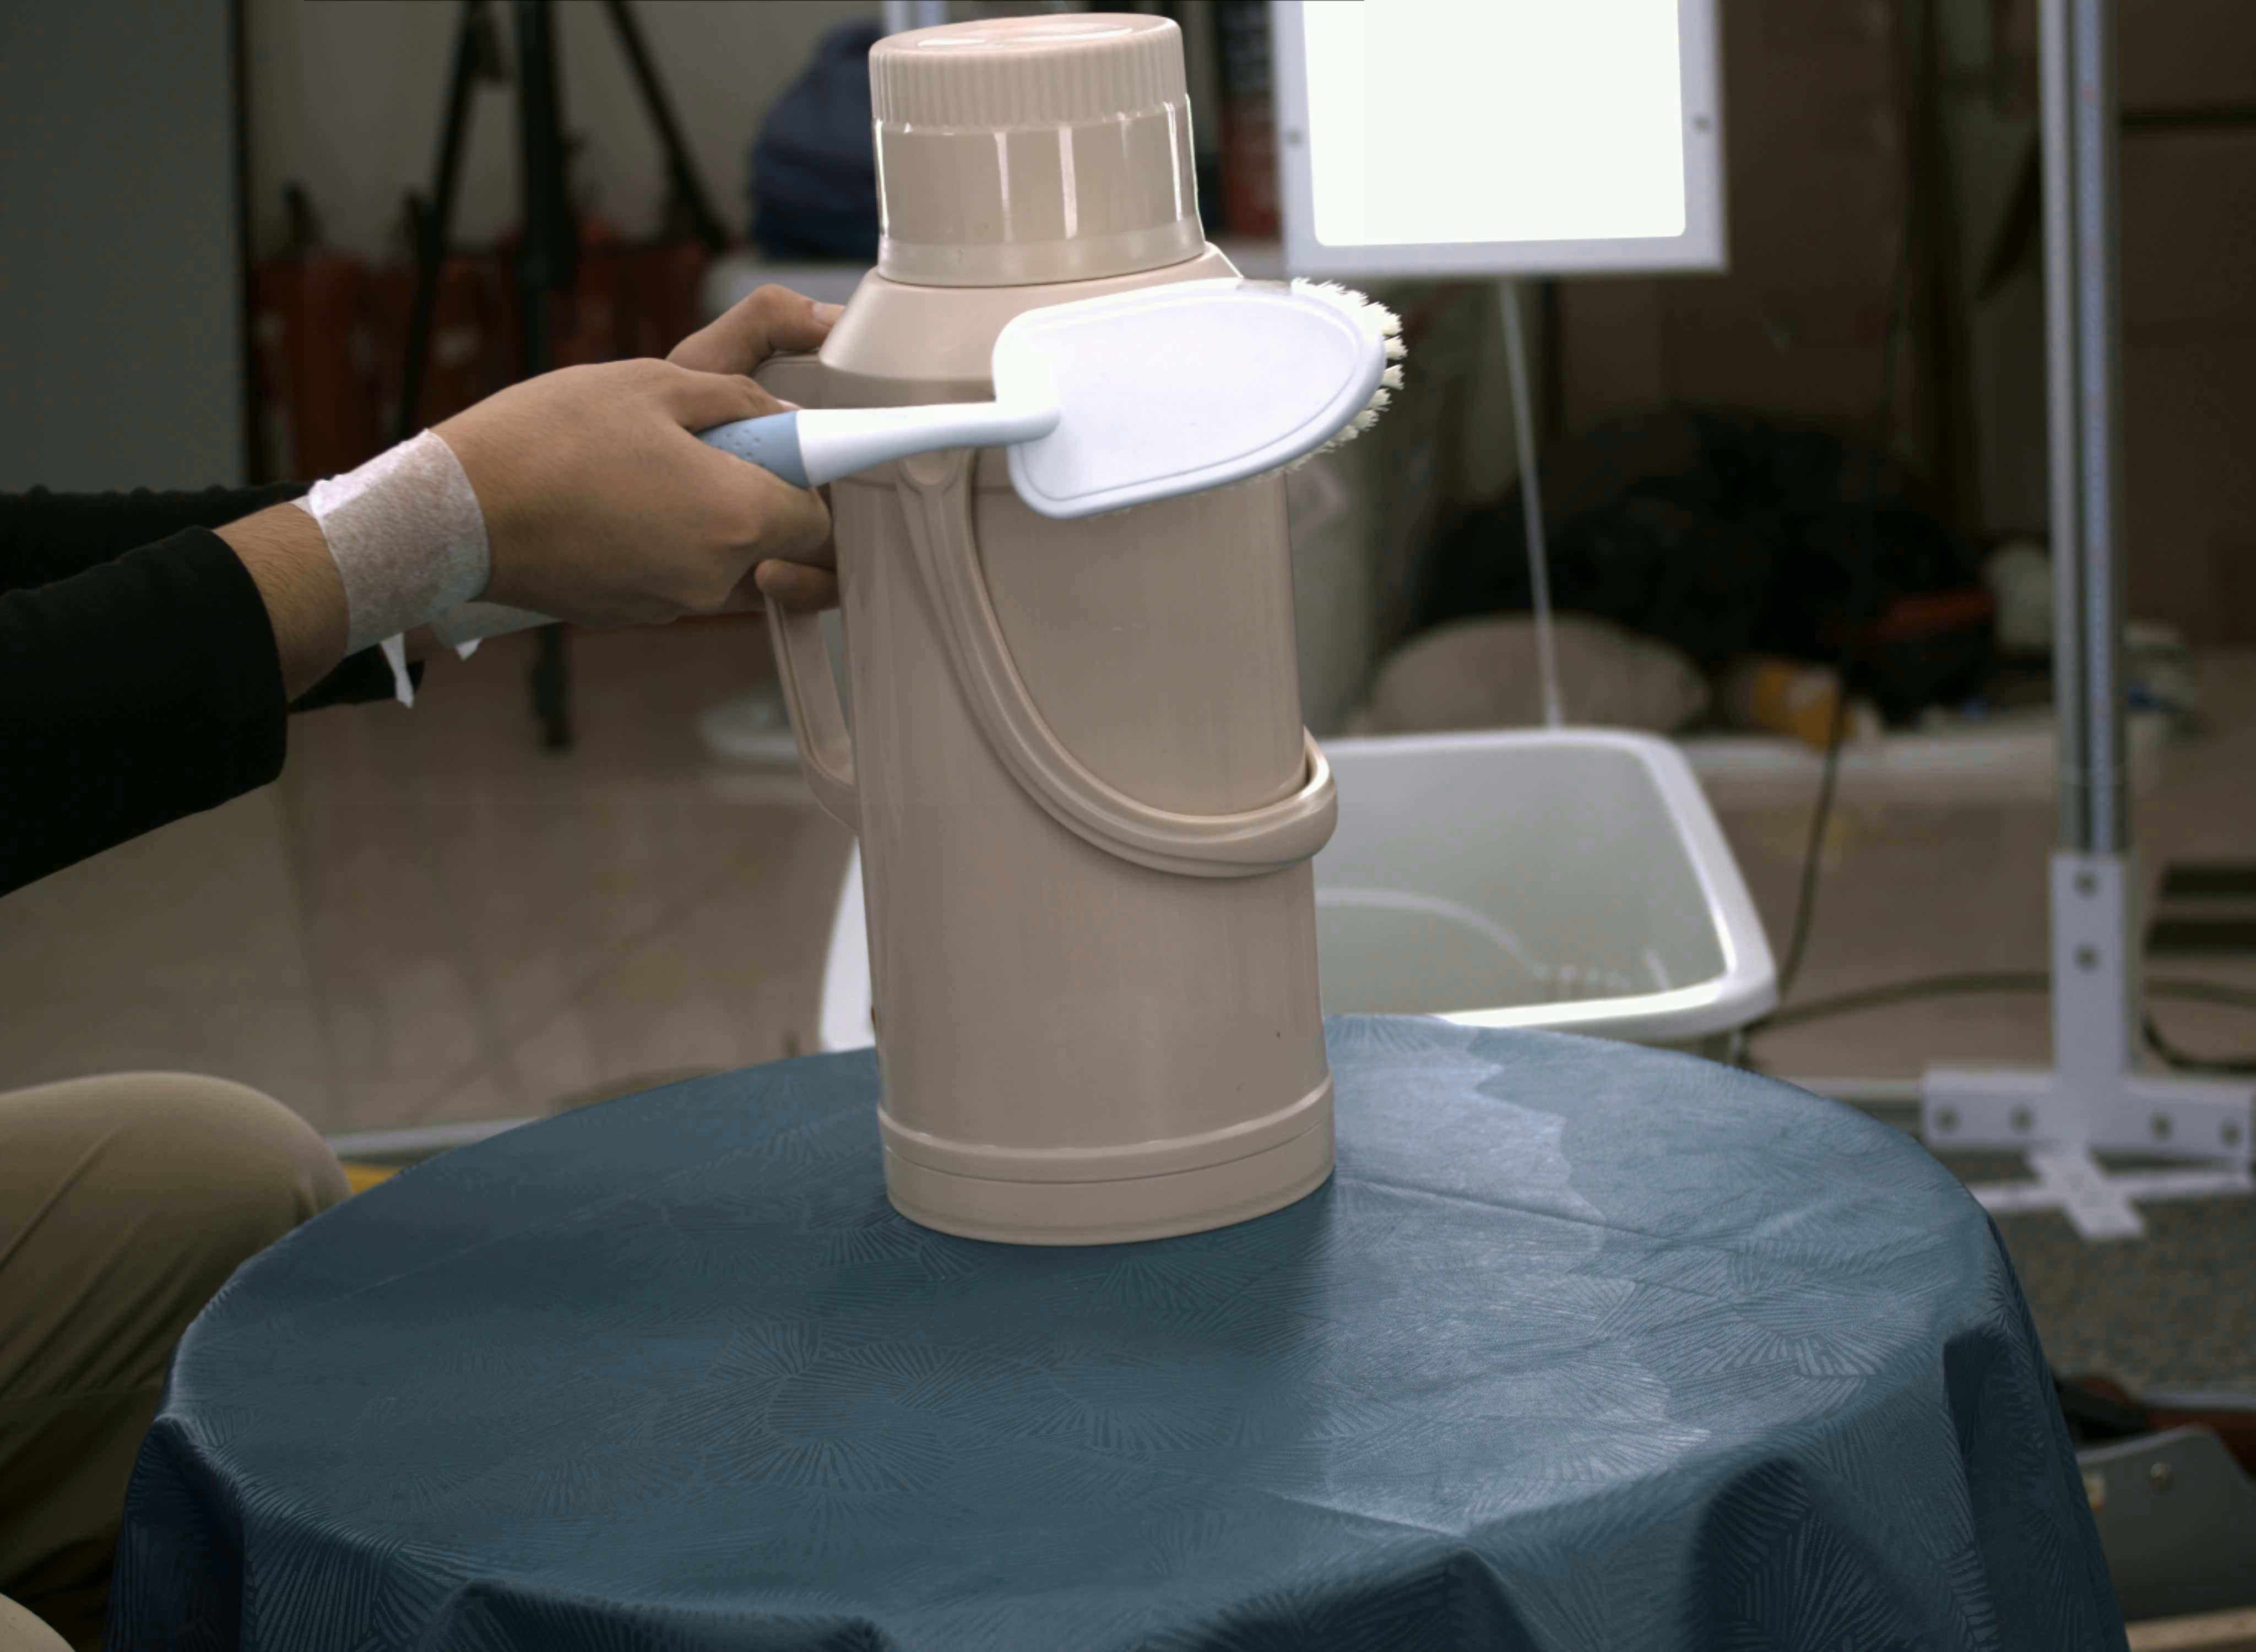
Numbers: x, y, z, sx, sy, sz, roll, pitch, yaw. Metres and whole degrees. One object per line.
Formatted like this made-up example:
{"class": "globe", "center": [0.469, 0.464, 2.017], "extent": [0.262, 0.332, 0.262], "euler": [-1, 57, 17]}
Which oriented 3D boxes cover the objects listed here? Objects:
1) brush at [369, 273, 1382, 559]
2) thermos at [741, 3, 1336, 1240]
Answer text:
{"class": "brush", "center": [-0.079, -0.127, 1.751], "extent": [0.326, 0.084, 0.083], "euler": [-10, 52, 7]}
{"class": "thermos", "center": [-0.032, -0.072, 1.883], "extent": [0.211, 0.408, 0.171], "euler": [4, 17, 28]}
